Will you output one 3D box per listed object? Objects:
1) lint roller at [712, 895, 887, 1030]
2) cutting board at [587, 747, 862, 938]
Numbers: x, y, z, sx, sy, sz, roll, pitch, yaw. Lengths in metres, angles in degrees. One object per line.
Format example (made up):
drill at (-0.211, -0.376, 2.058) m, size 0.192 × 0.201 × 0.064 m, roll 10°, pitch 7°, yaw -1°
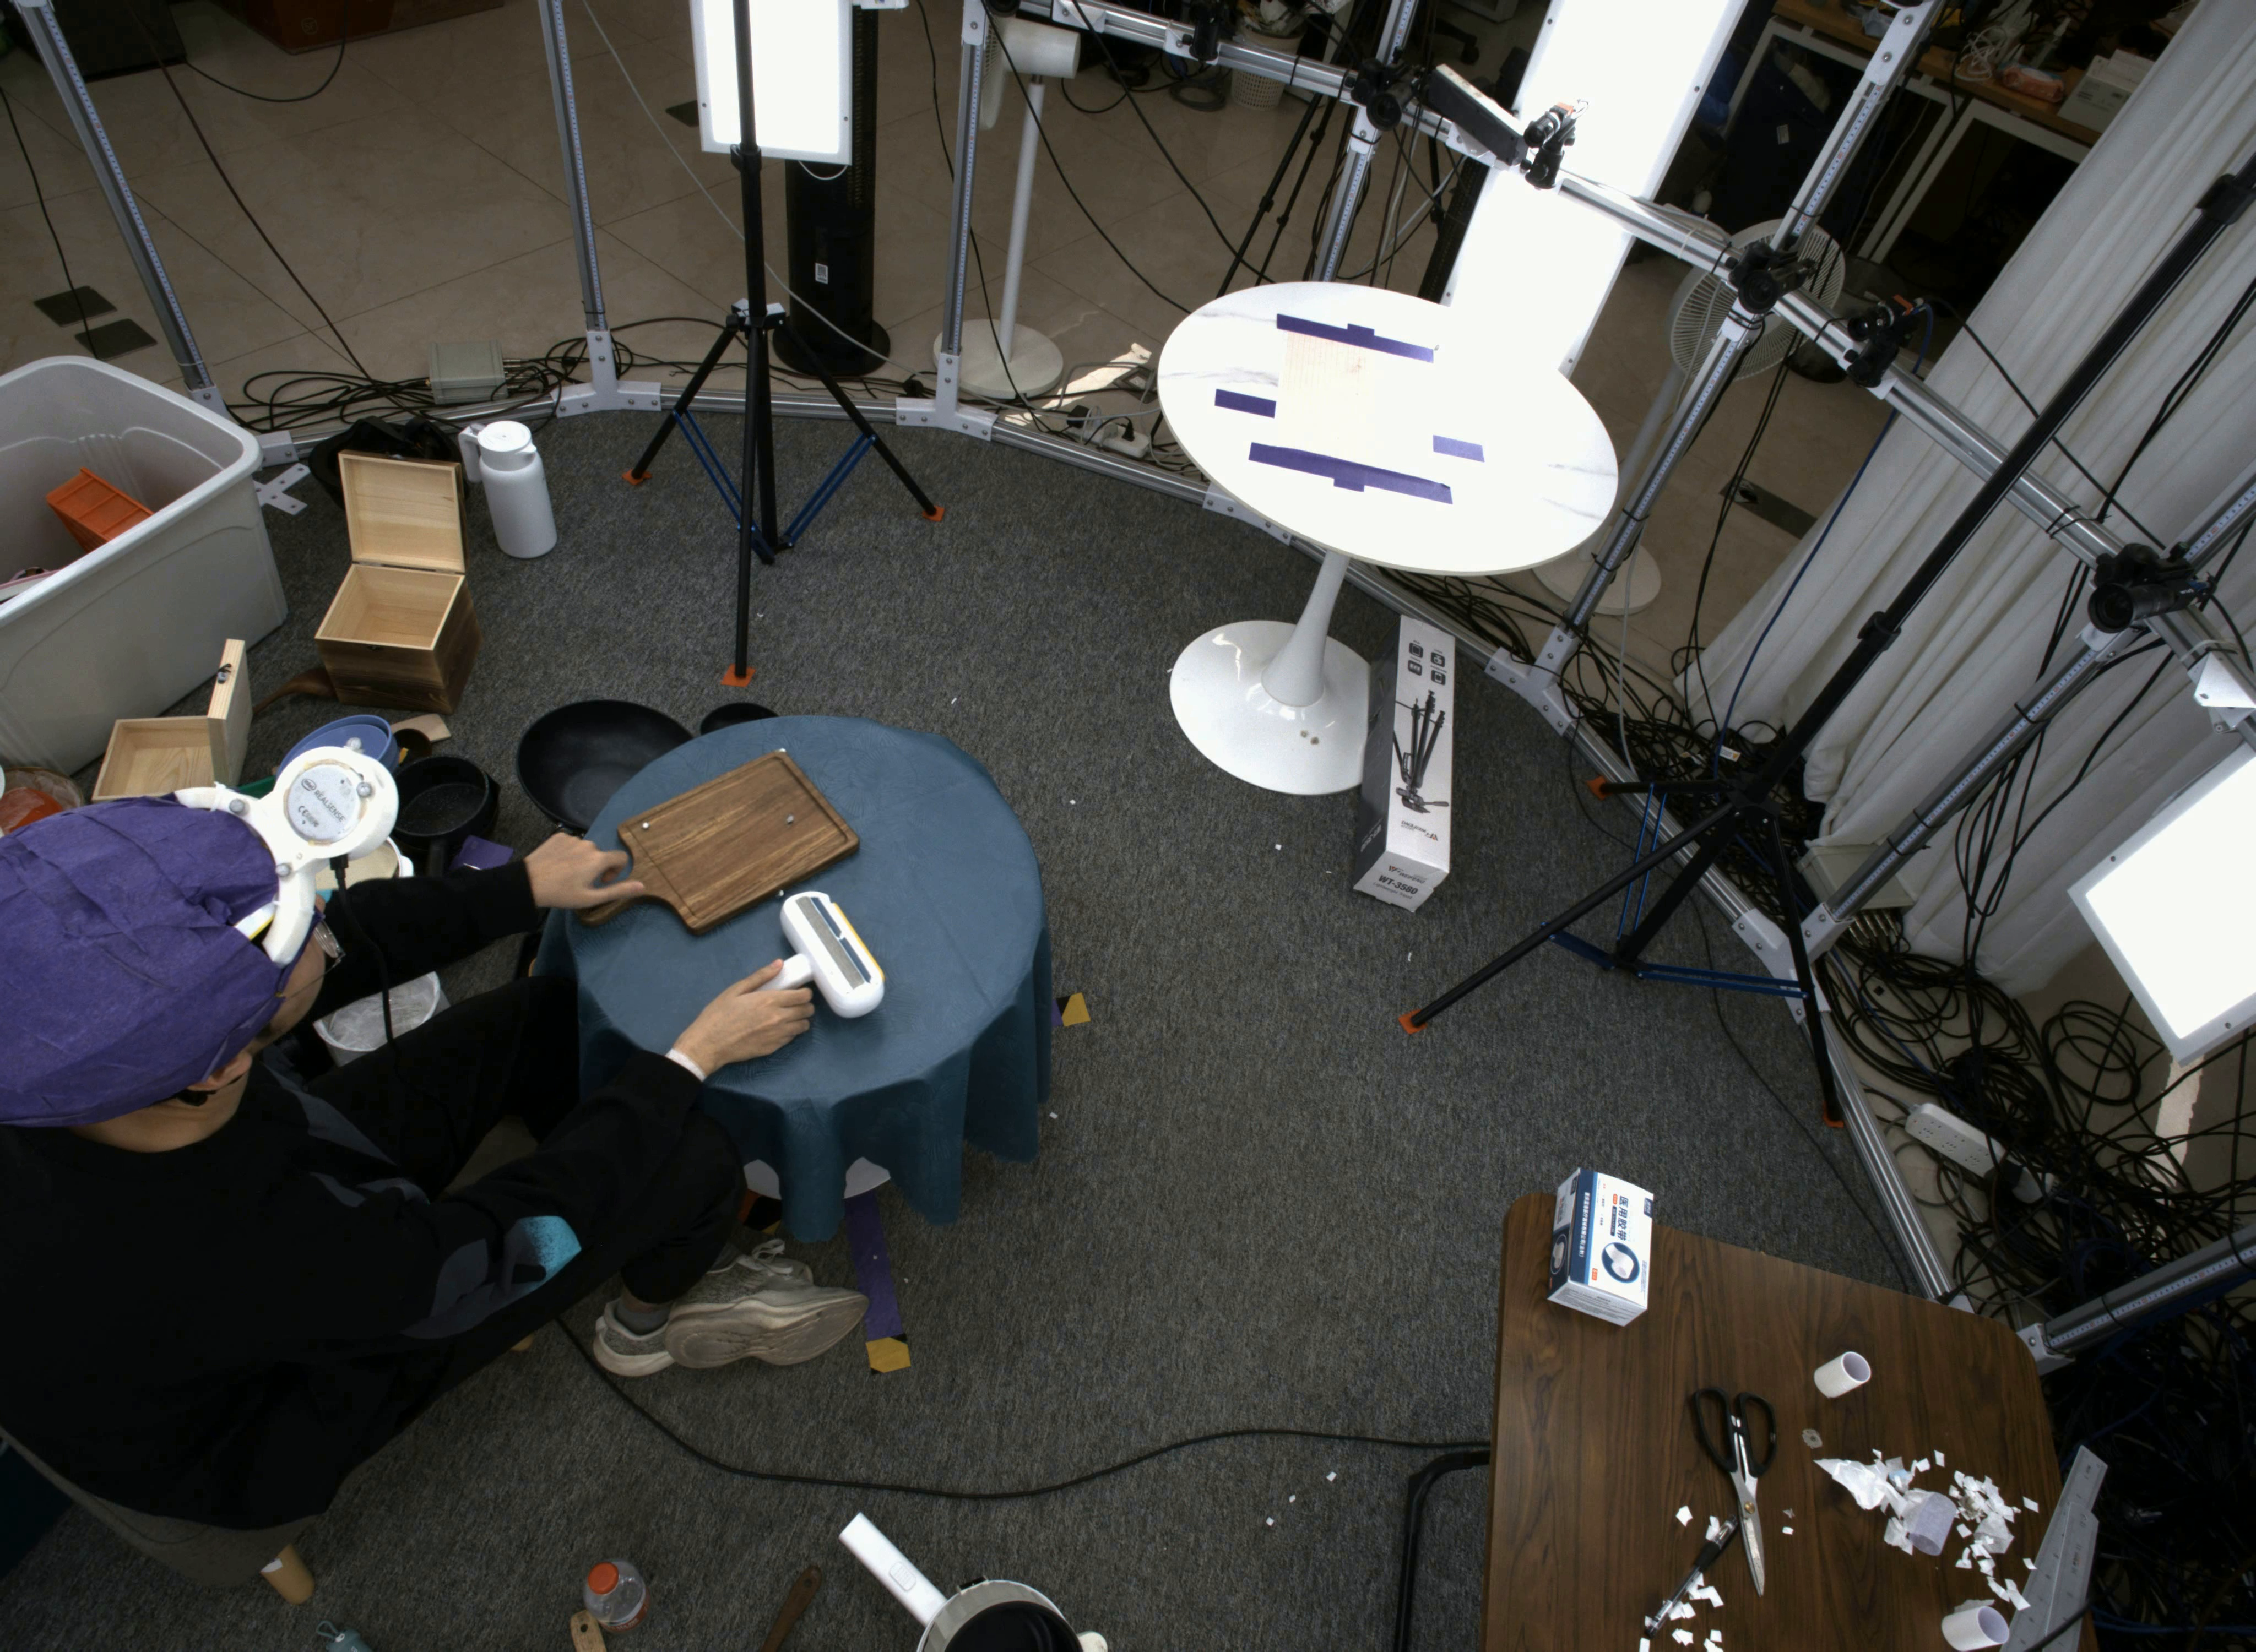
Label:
lint roller at (-0.407, 0.182, 1.556) m, size 0.193 × 0.076 × 0.187 m, roll -20°, pitch 56°, yaw -25°
cutting board at (-0.540, 0.036, 1.659) m, size 0.353 × 0.023 × 0.196 m, roll -32°, pitch 67°, yaw -32°
